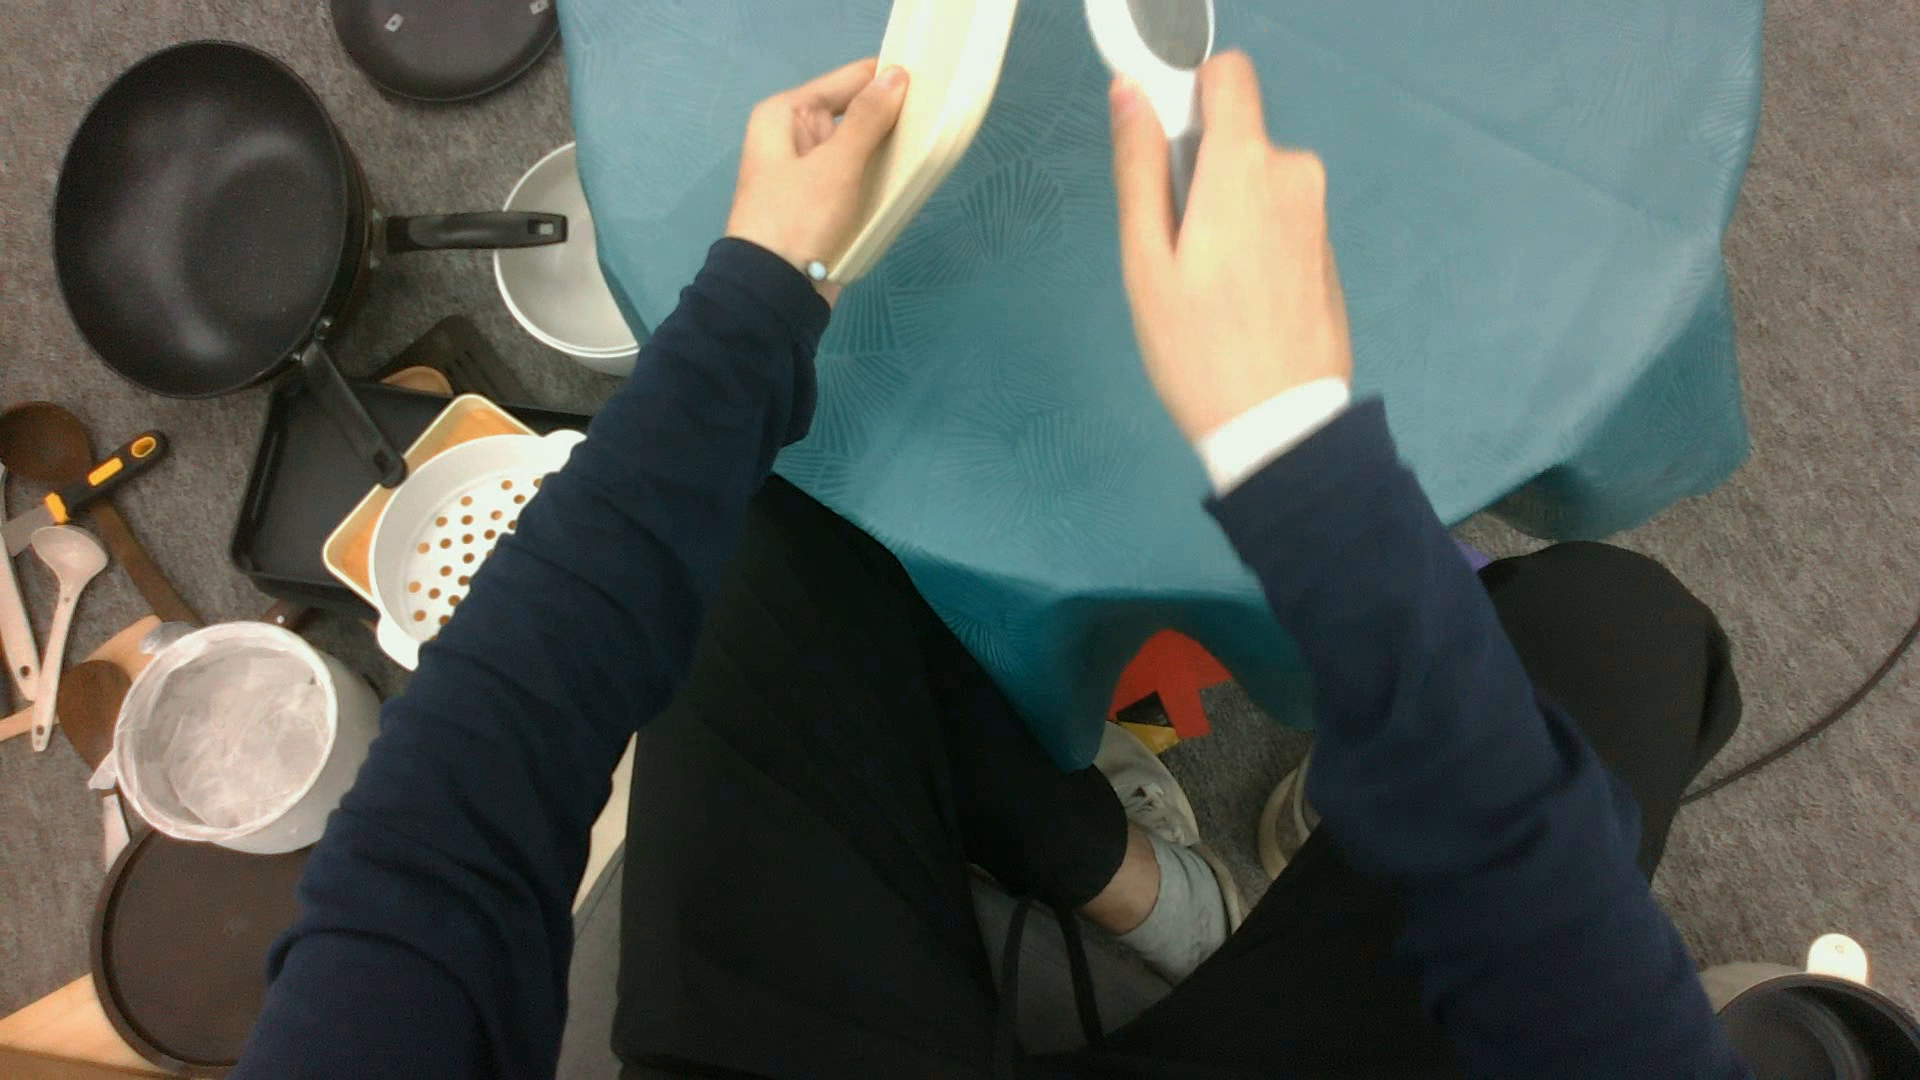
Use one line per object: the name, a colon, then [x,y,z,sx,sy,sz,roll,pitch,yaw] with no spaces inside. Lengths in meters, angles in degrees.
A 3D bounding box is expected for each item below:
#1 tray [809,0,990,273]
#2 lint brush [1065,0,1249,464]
tray: [-0.009,-0.233,0.550,0.017,0.170,0.240,17,73,-17]
lint brush: [0.060,-0.177,0.482,0.021,0.060,0.308,-10,95,41]
